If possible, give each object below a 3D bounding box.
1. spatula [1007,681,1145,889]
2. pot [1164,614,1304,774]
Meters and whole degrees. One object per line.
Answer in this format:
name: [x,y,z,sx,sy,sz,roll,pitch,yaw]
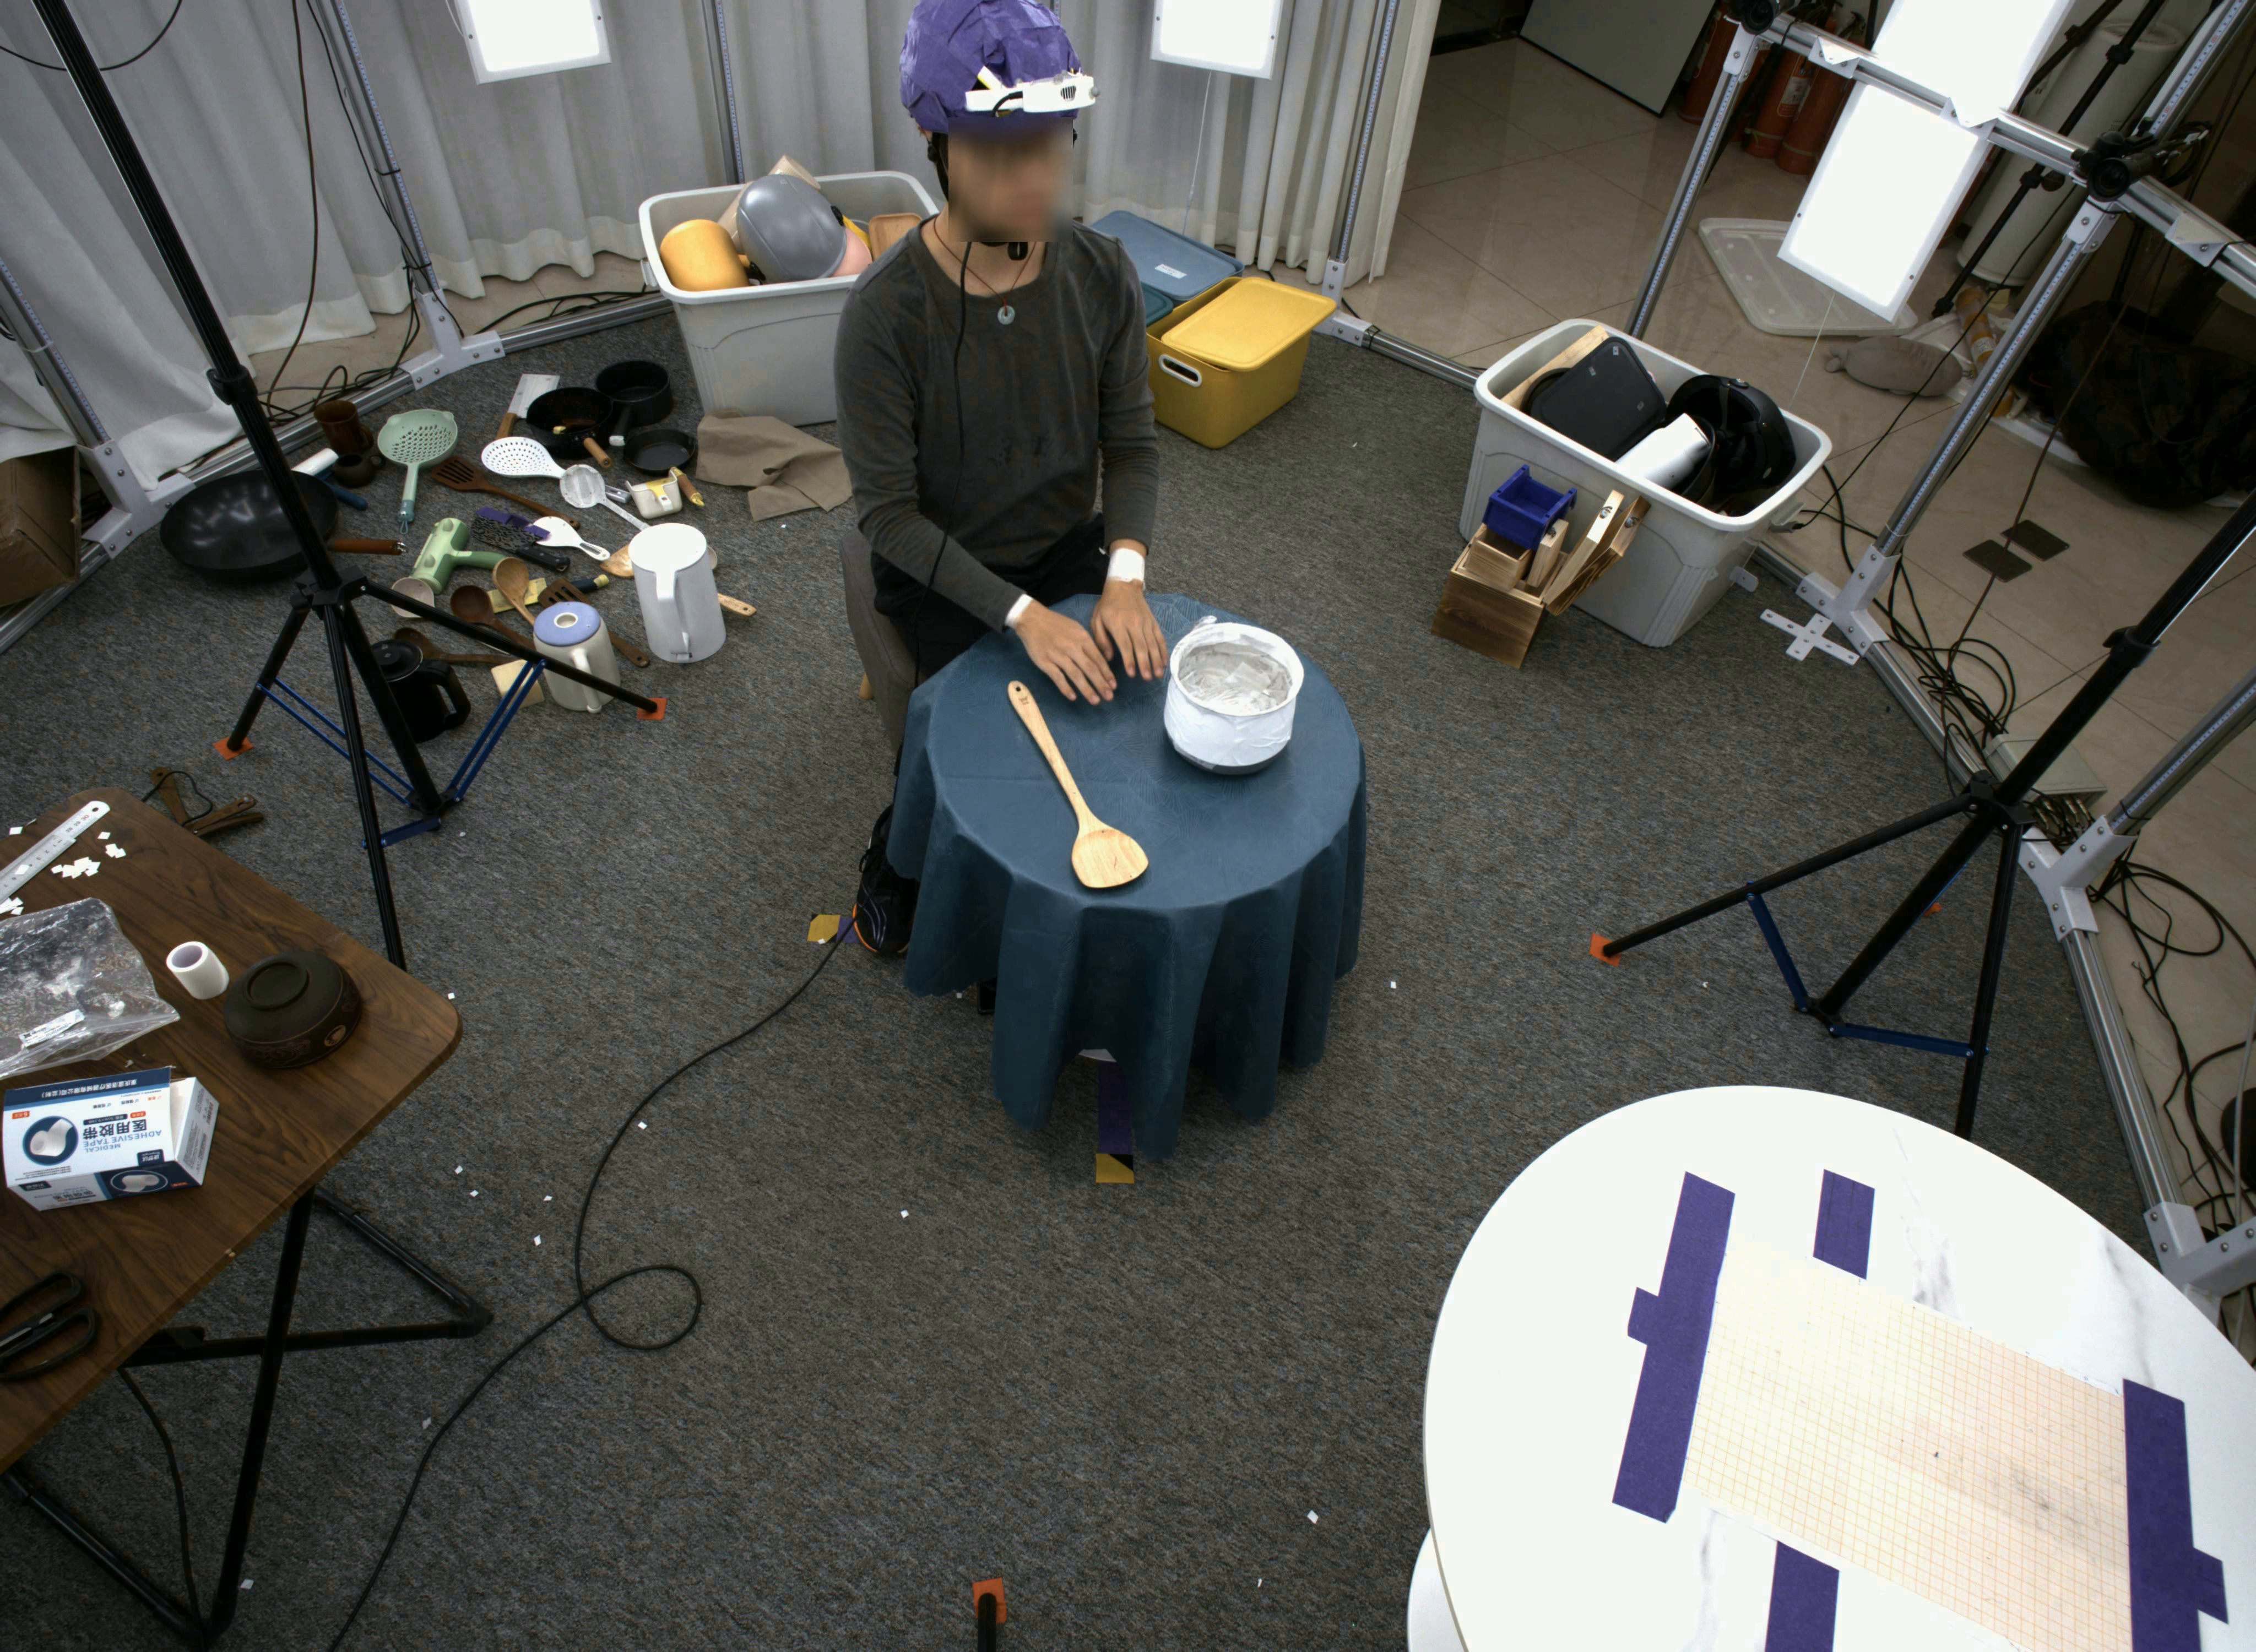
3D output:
spatula: [-0.090,-0.064,1.705,0.096,0.018,0.400,-15,52,-18]
pot: [0.130,-0.189,1.751,0.178,0.133,0.239,-12,51,-15]
